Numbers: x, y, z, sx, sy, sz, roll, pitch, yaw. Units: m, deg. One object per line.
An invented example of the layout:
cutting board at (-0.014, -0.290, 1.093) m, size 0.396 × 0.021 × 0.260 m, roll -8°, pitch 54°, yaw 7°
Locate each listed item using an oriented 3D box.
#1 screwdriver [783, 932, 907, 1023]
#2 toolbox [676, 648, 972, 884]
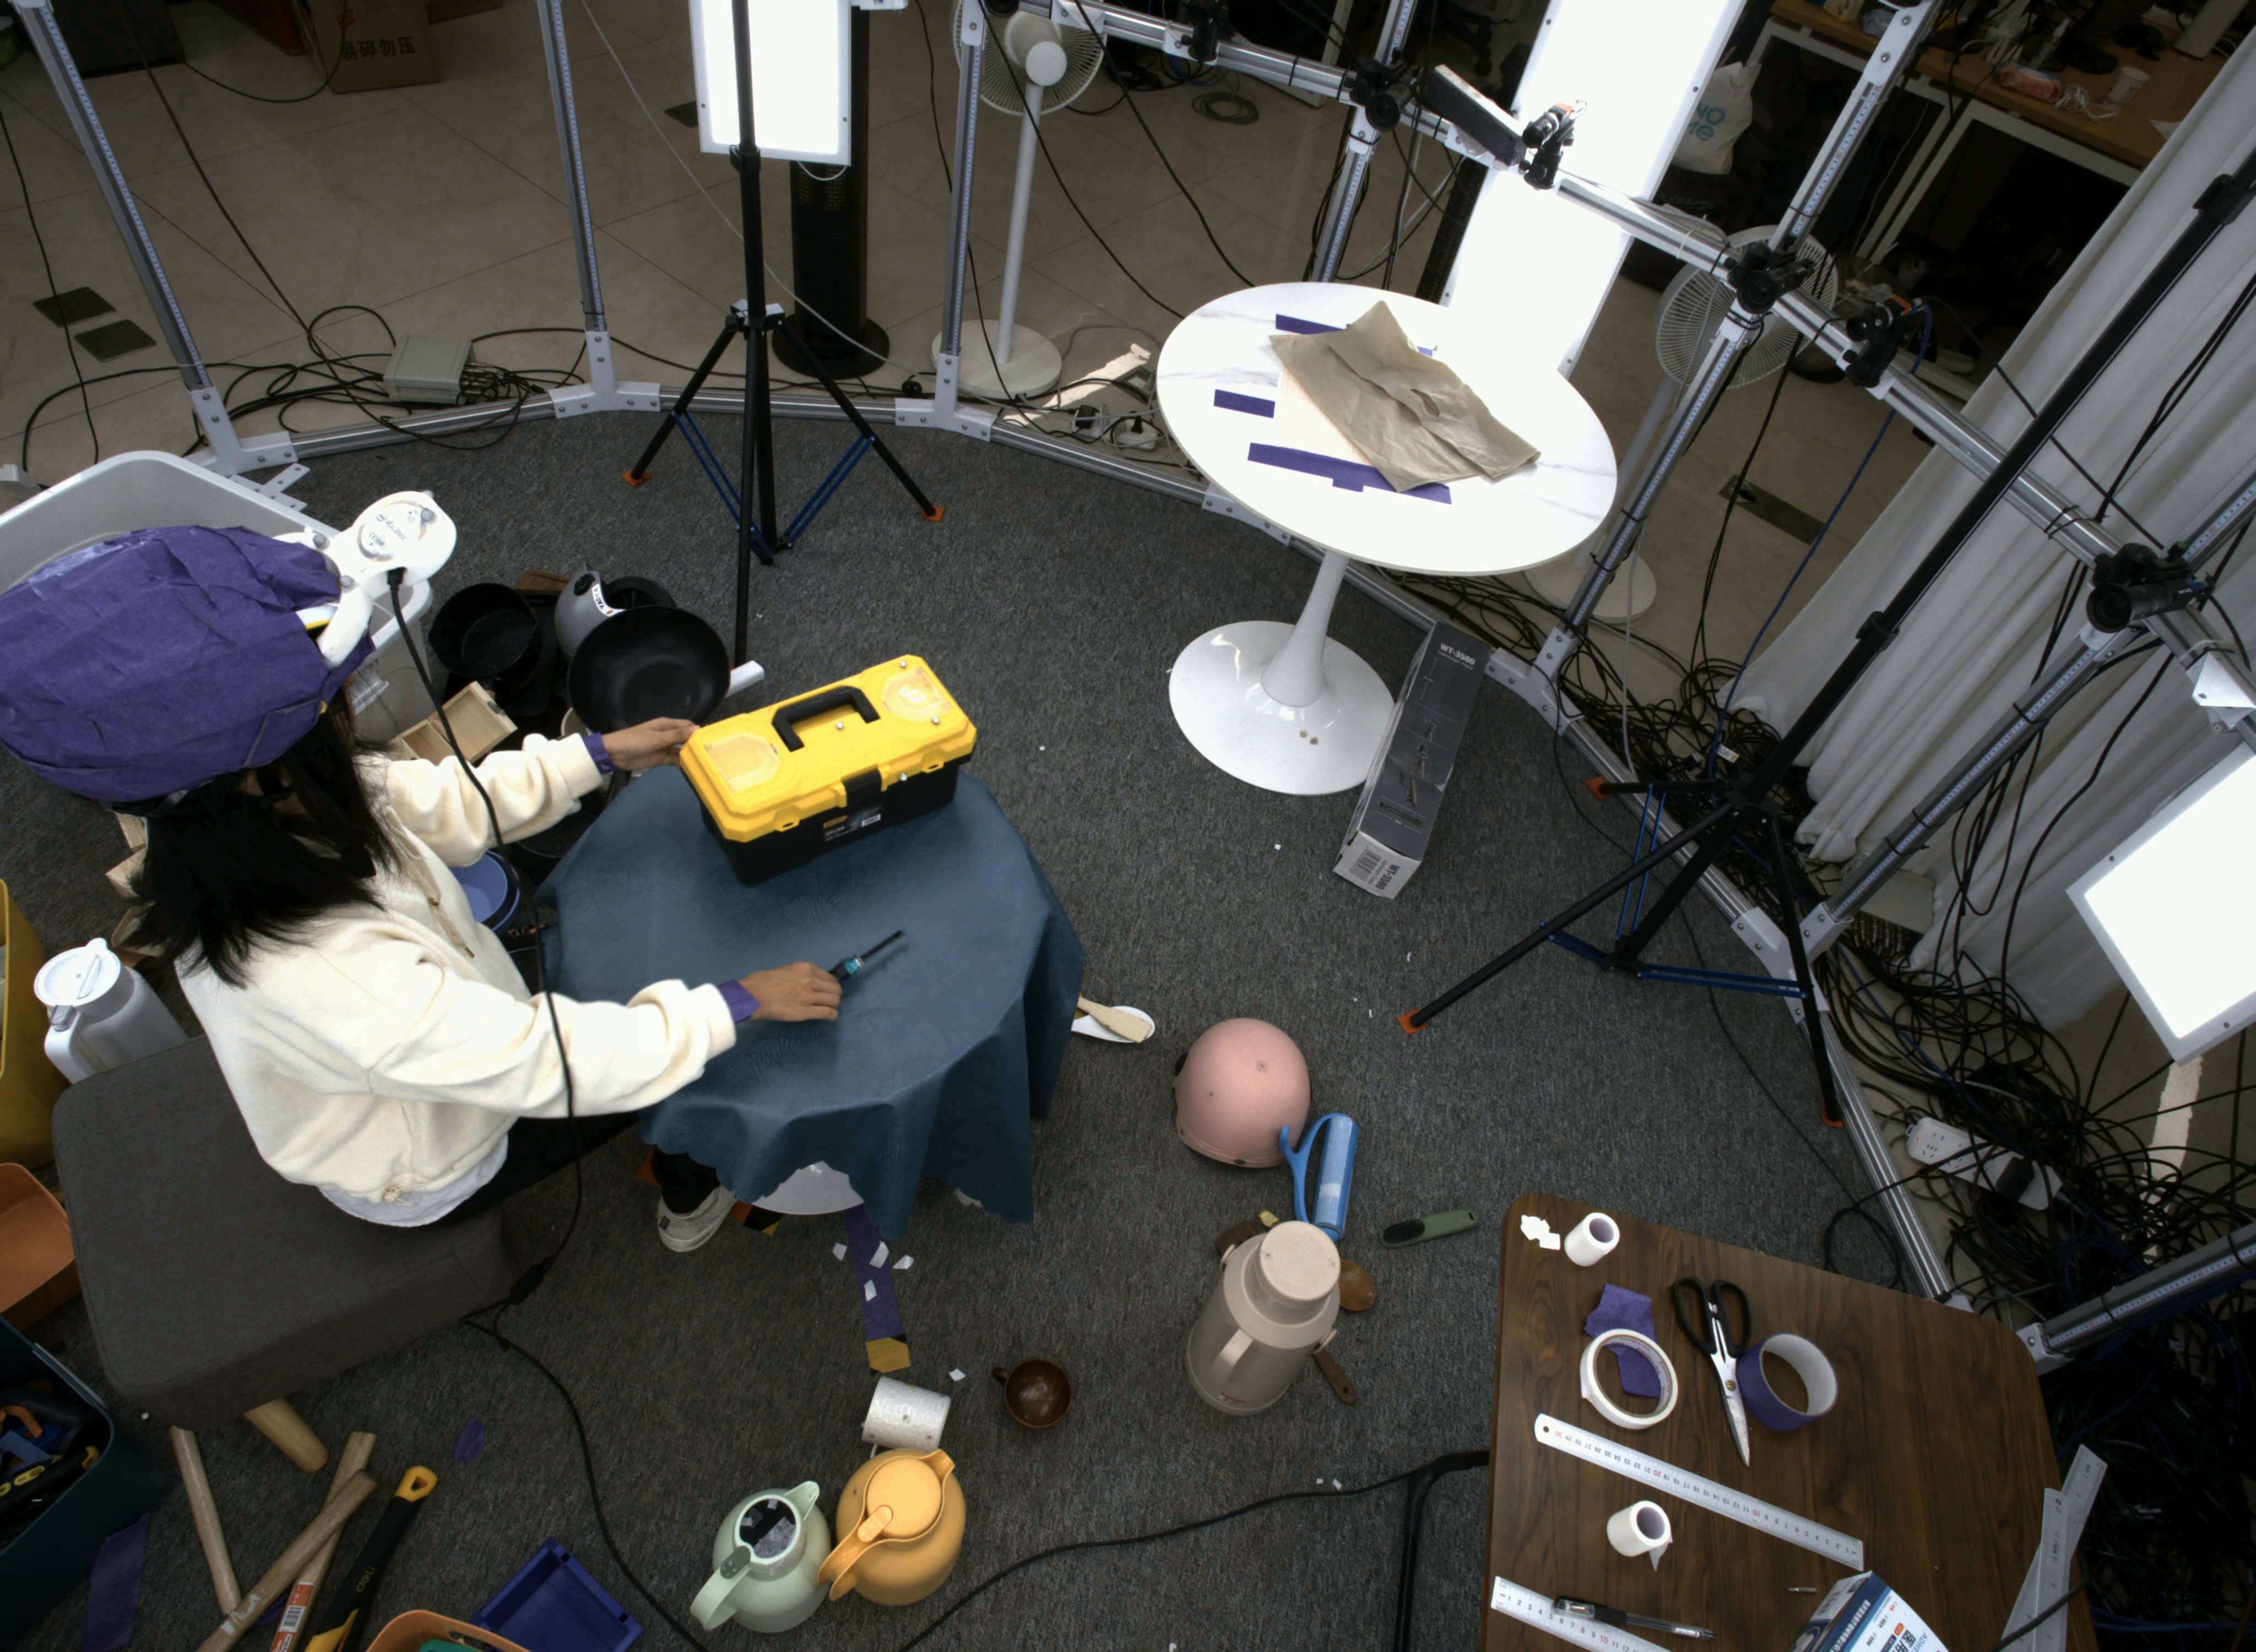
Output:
screwdriver at (-0.339, 0.177, 1.583) m, size 0.033 × 0.034 × 0.190 m, roll 39°, pitch 49°, yaw 18°
toolbox at (-0.386, -0.076, 1.673) m, size 0.353 × 0.176 × 0.177 m, roll -25°, pitch 62°, yaw -29°
